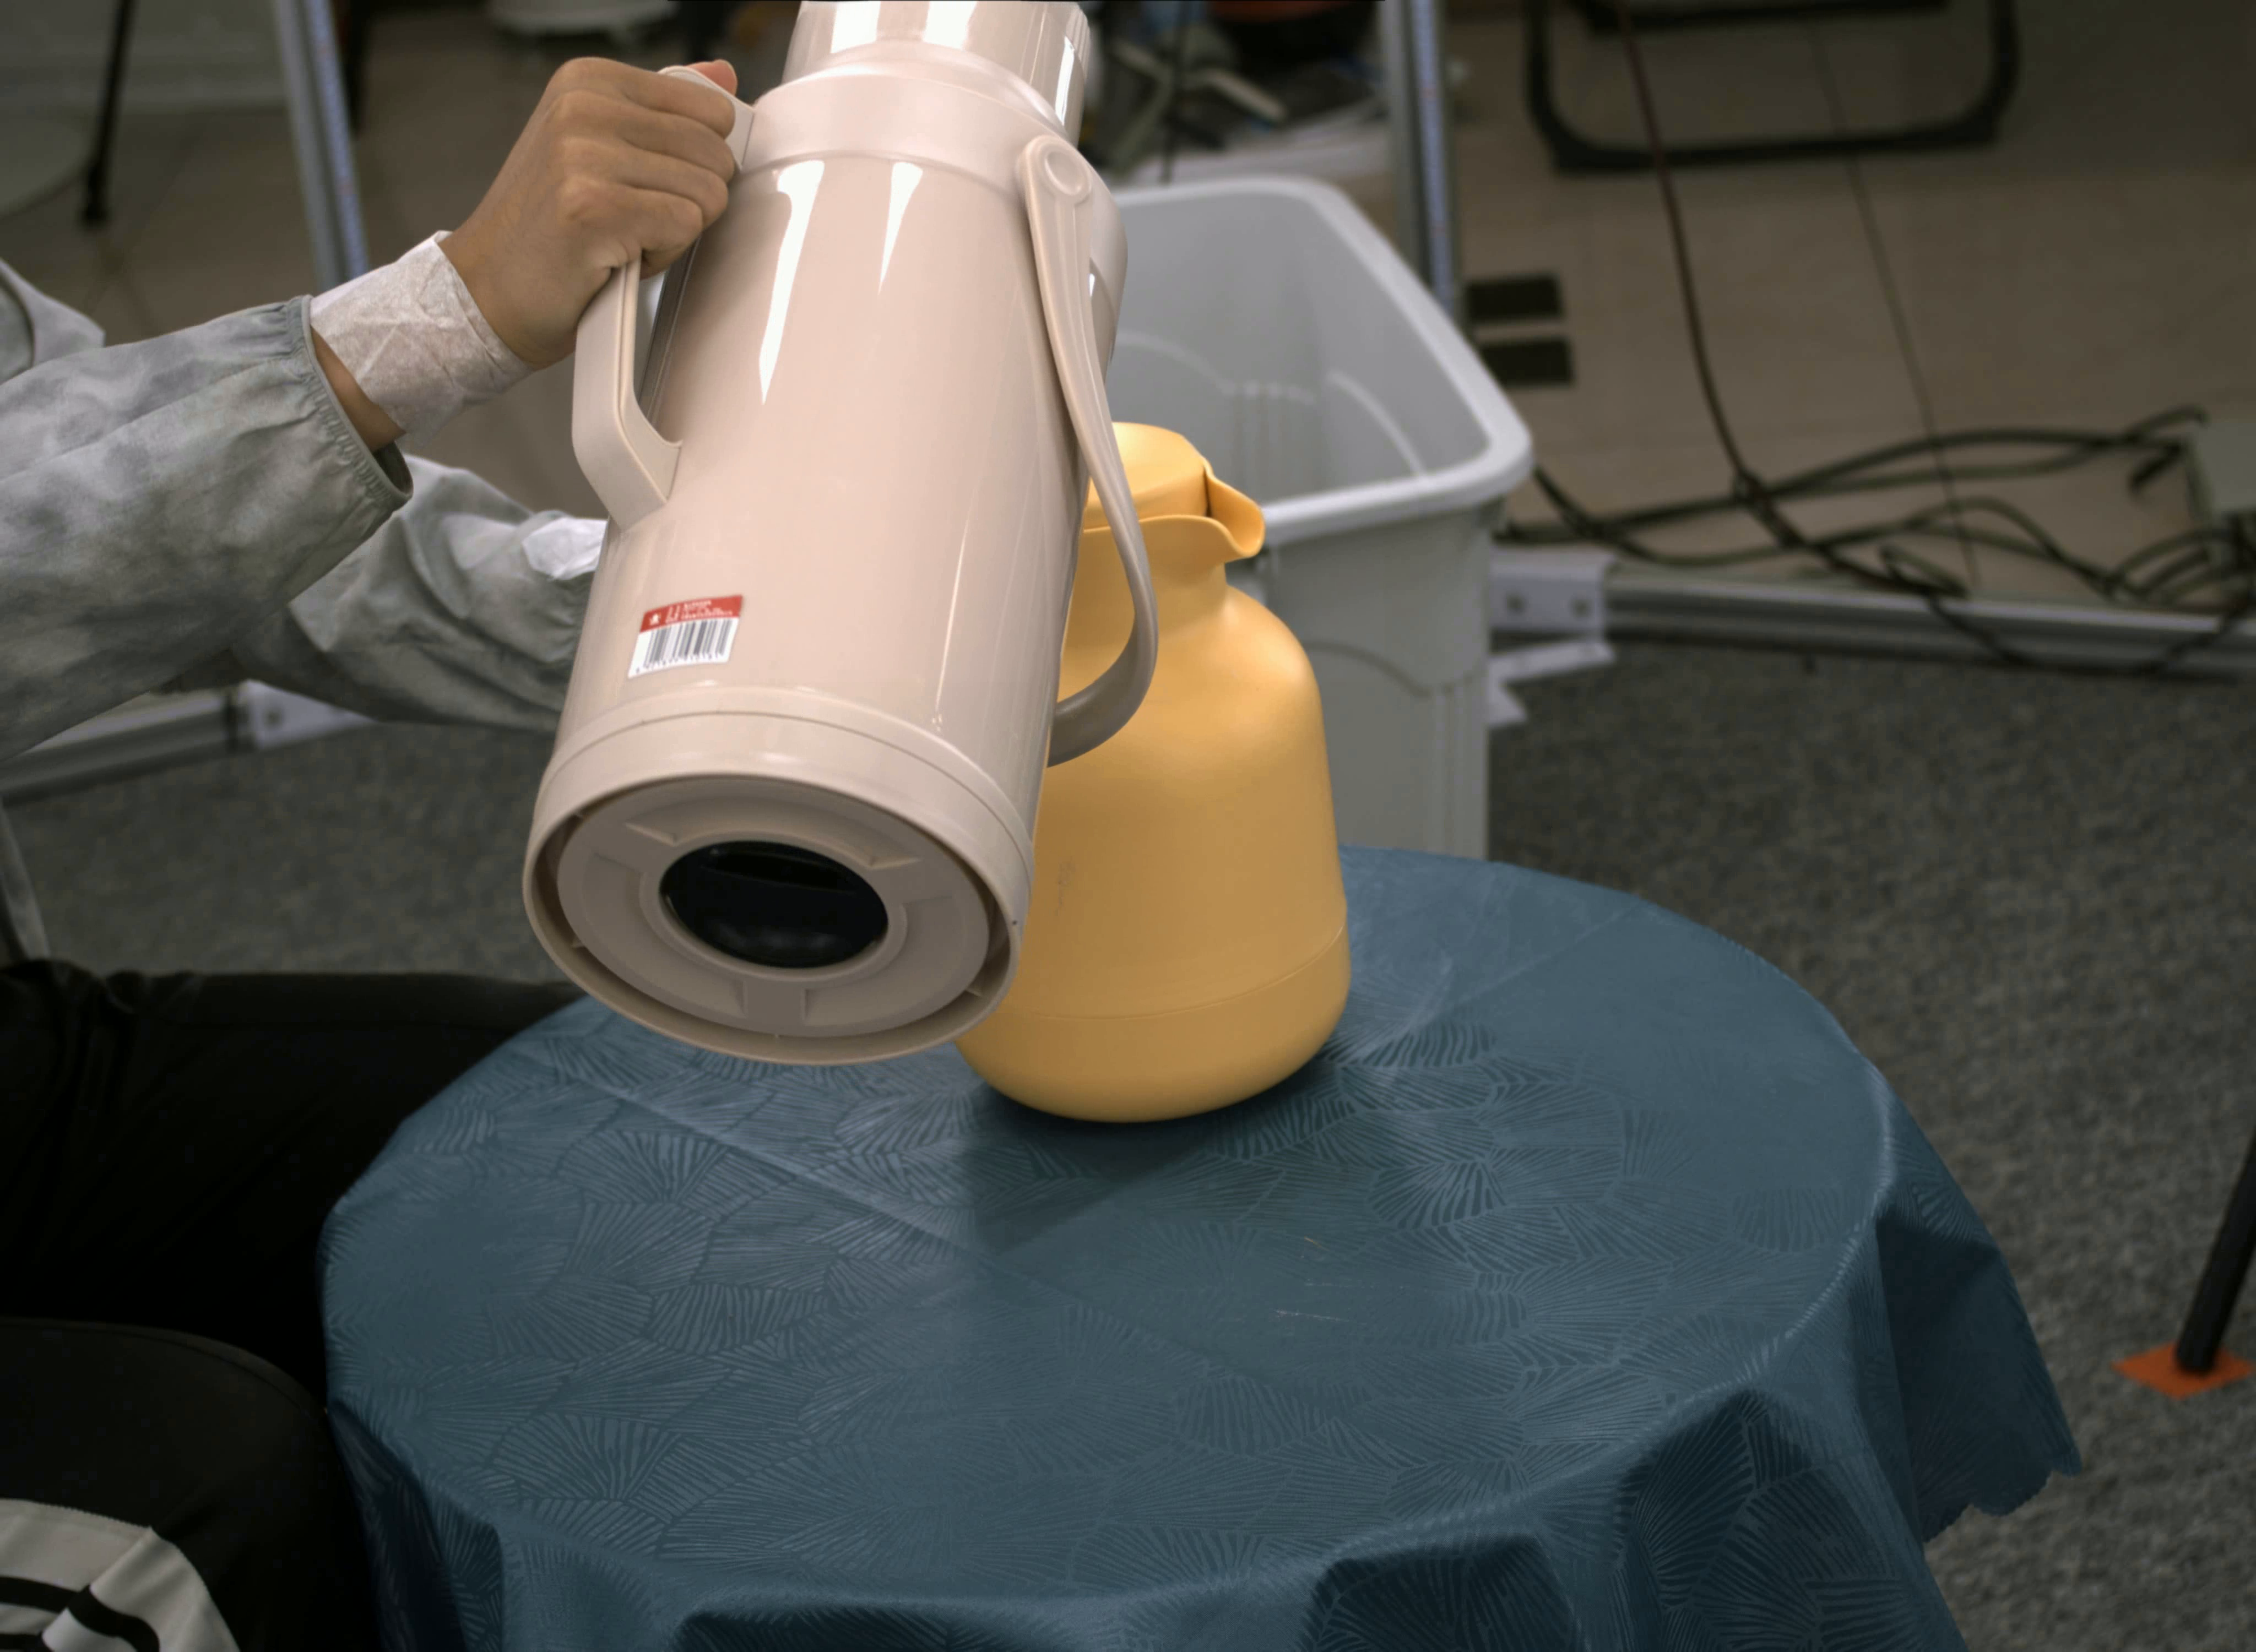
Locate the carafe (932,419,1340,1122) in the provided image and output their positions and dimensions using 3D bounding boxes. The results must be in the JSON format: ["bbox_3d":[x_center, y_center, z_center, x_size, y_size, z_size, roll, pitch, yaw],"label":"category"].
[{"bbox_3d":[-0.019,-0.030,2.203,0.201,0.264,0.162,13,30,33],"label":"carafe"}]

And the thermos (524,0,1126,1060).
[{"bbox_3d":[-0.101,-0.134,1.889,0.176,0.209,0.399,-28,41,41],"label":"thermos"}]
